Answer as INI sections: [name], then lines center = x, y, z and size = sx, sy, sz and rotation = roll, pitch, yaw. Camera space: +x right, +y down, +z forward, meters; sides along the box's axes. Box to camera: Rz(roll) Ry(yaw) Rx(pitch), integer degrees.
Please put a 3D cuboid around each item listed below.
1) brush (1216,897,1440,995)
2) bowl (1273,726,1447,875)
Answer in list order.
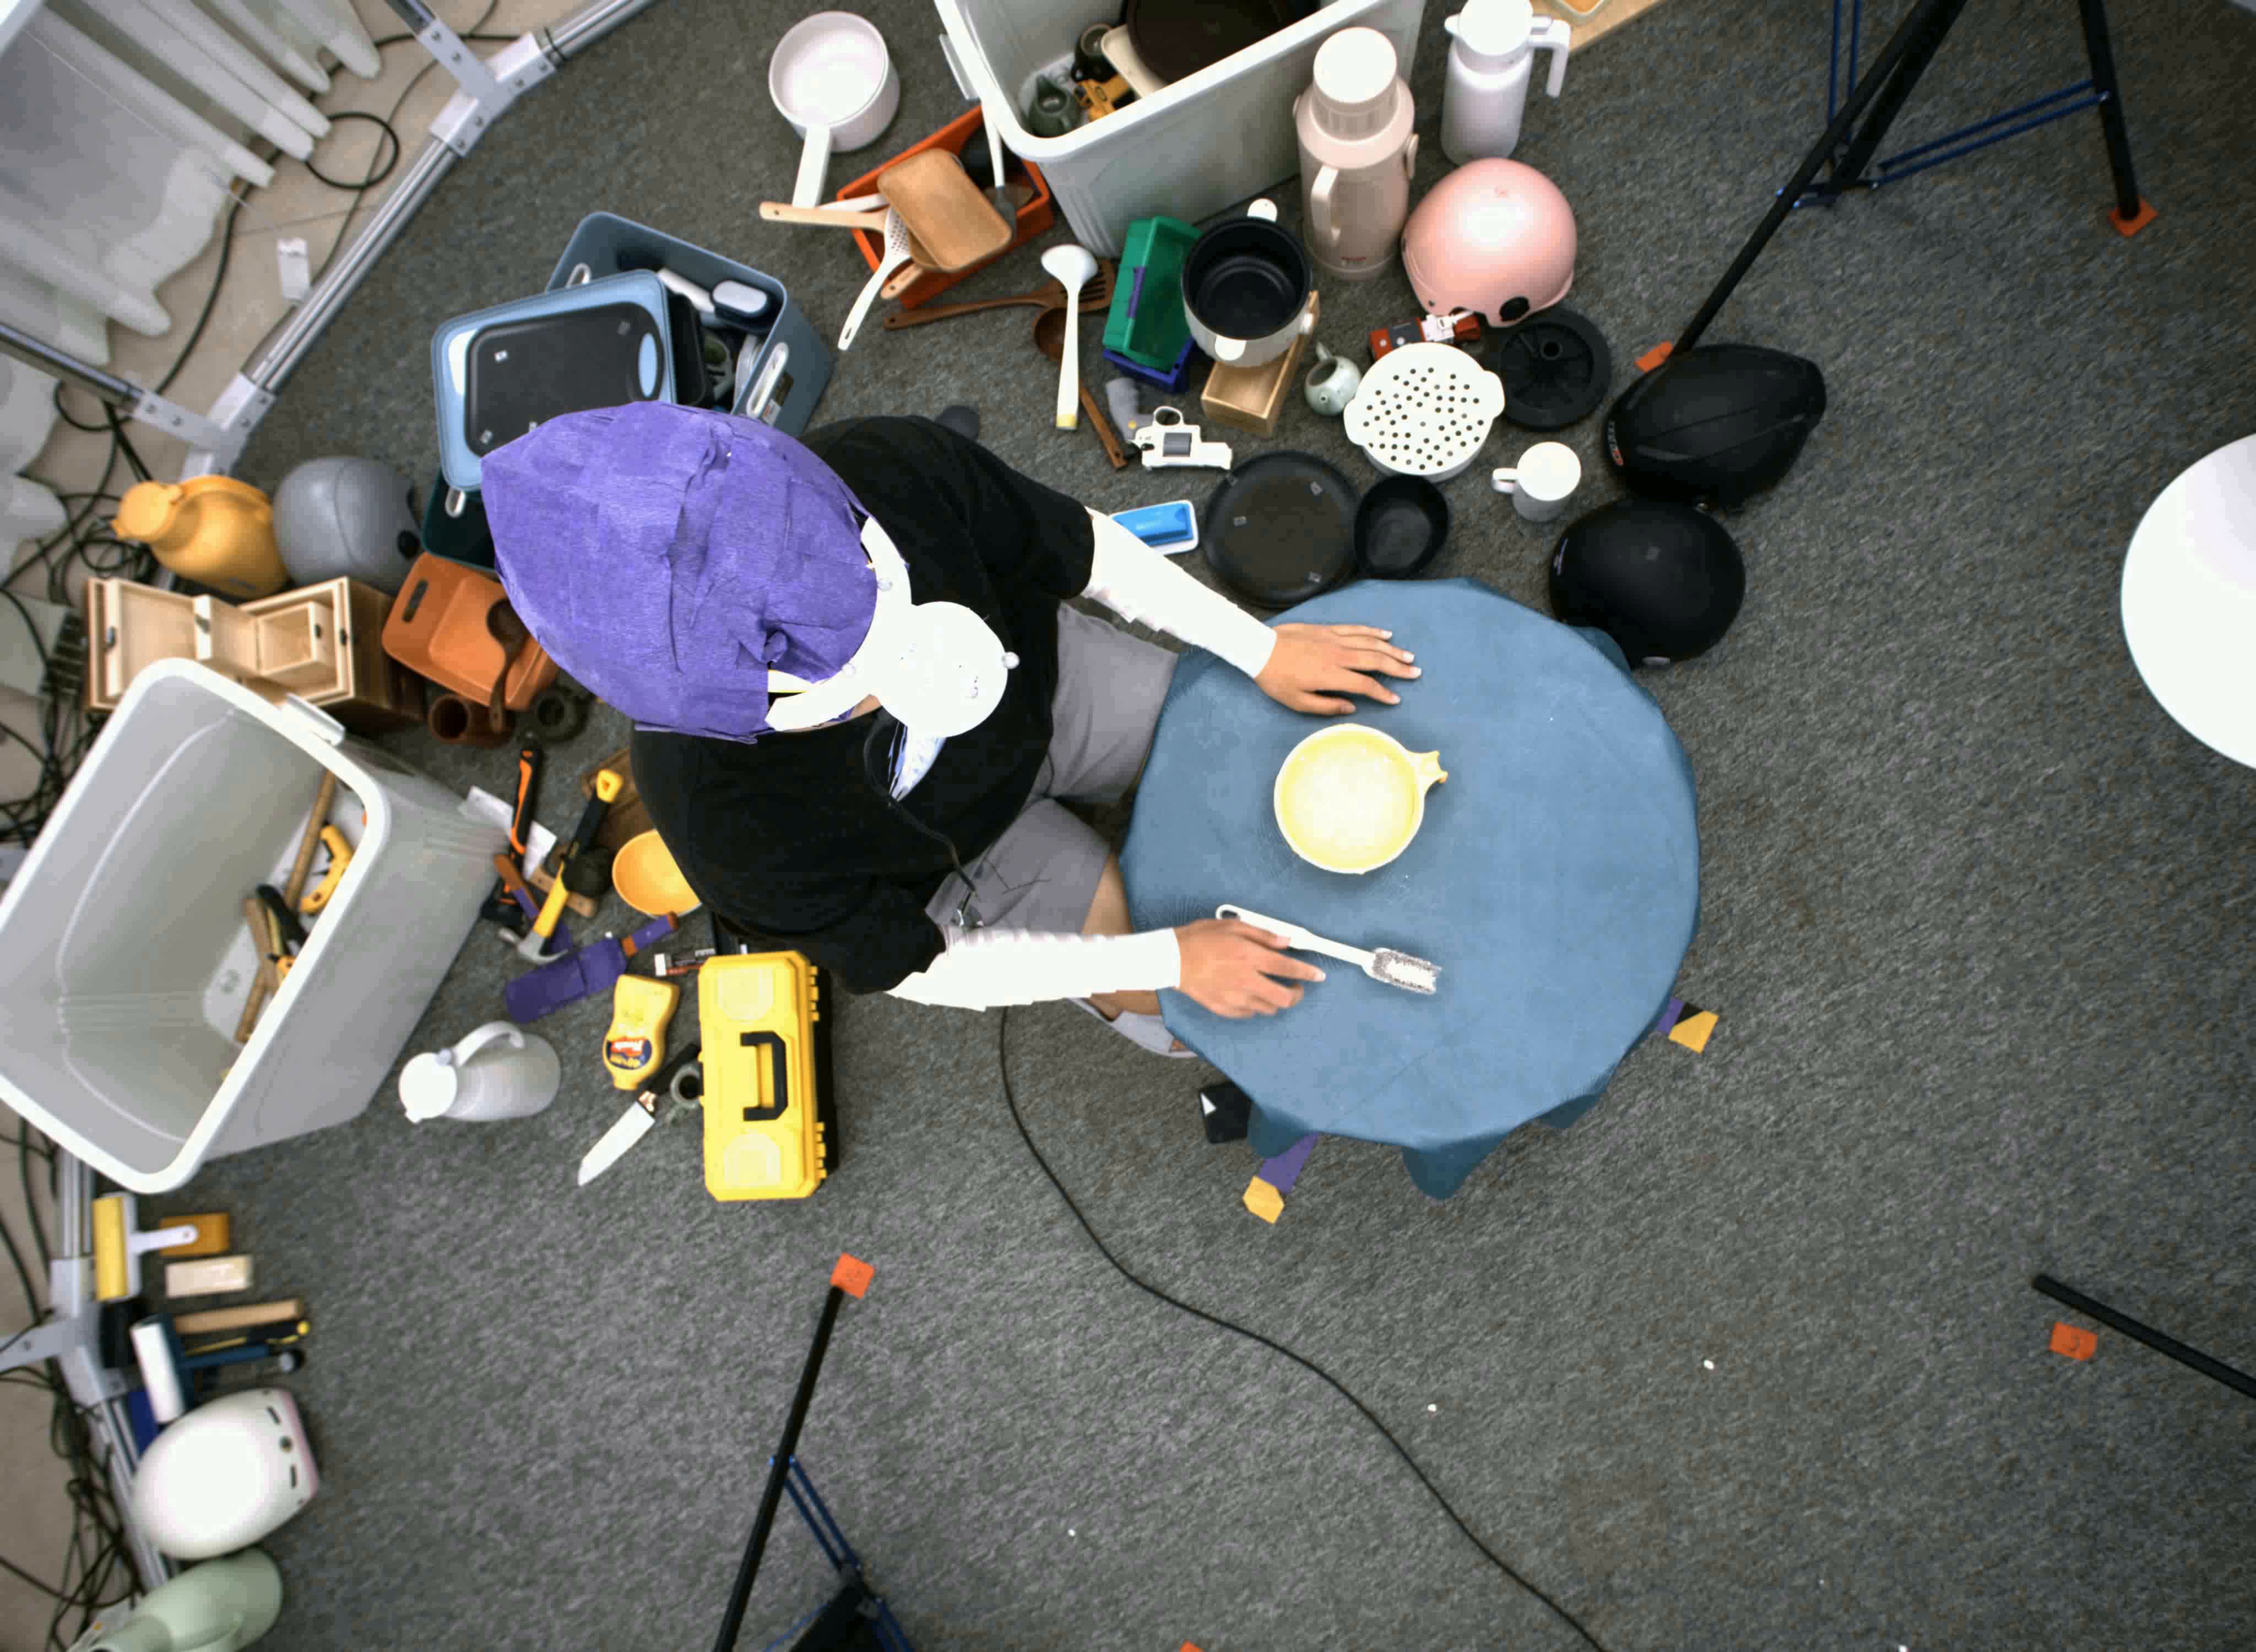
[brush]
center = 0.205, 0.121, 1.443
size = 0.244, 0.050, 0.034
rotation = 19, 90, 11
[bowl]
center = 0.243, -0.029, 1.435
size = 0.180, 0.074, 0.152
rotation = -25, 81, 9
